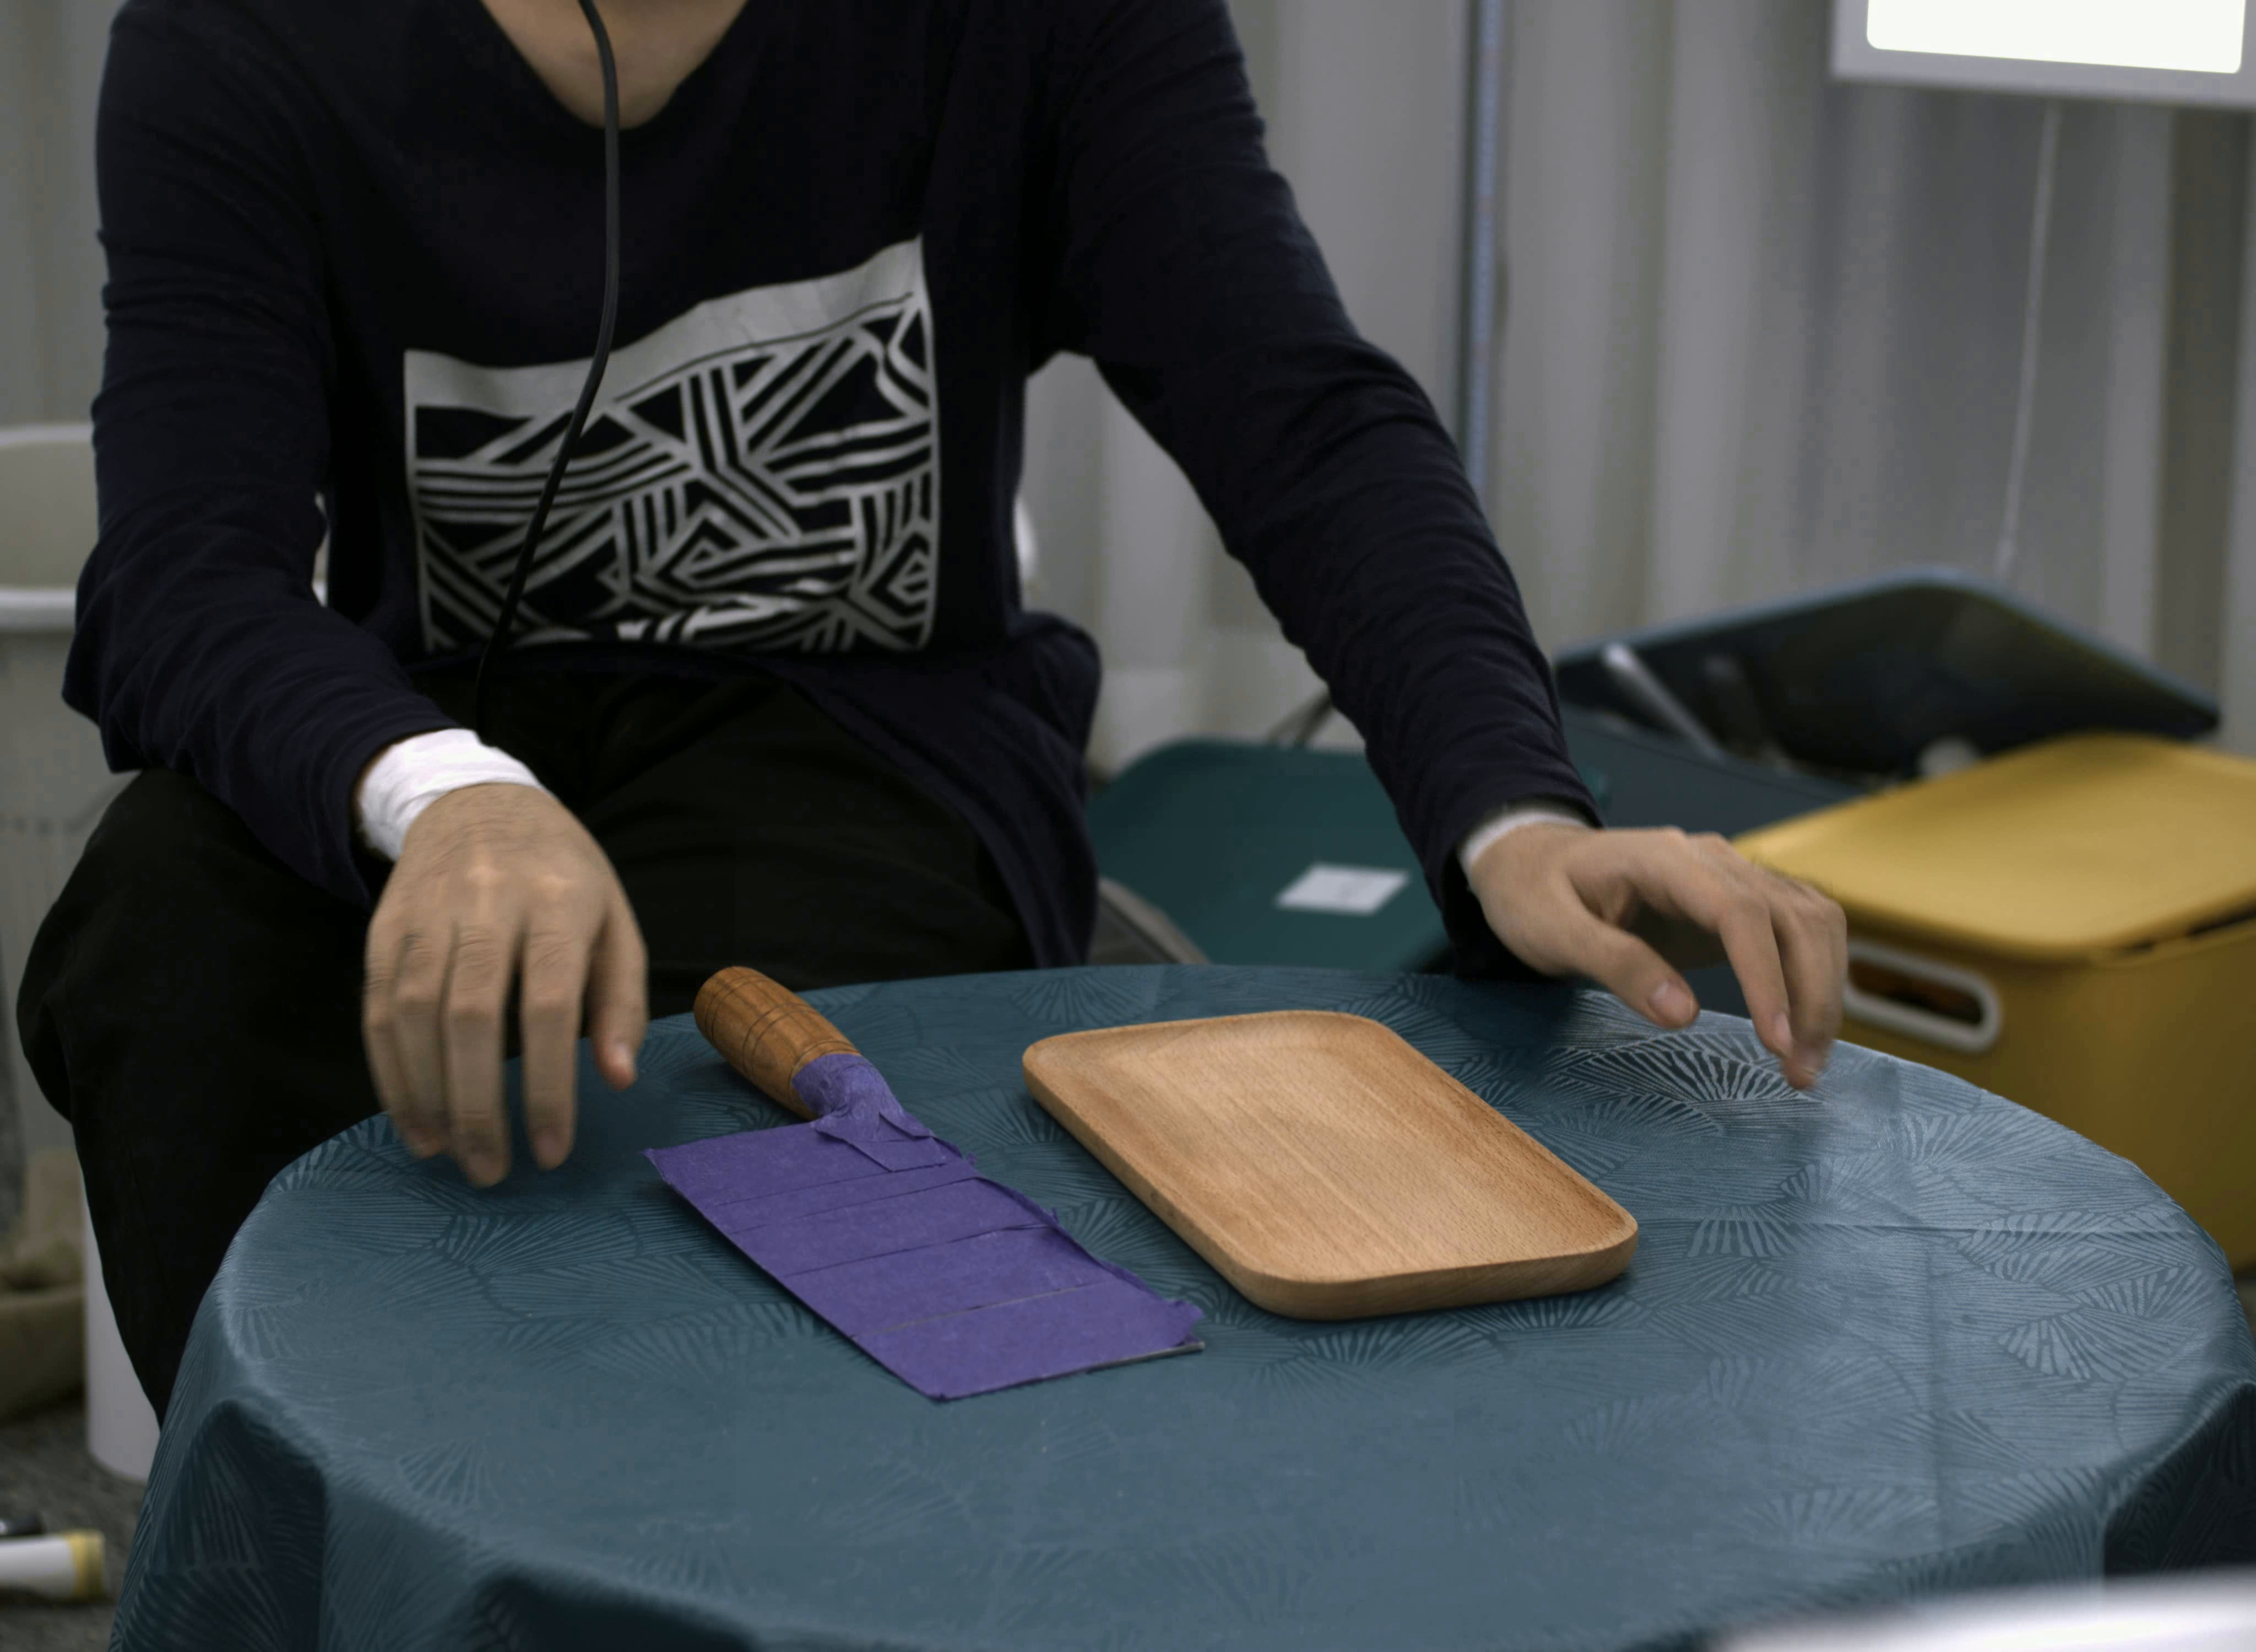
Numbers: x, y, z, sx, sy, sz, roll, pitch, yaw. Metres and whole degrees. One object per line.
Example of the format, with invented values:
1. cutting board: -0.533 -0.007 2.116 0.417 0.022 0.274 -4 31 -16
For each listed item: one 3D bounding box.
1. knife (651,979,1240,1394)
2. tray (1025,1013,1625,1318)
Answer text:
1. knife: -0.086 0.105 1.597 0.104 0.032 0.311 -7 18 -28
2. tray: 0.057 0.102 1.633 0.131 0.023 0.248 -6 17 -16
